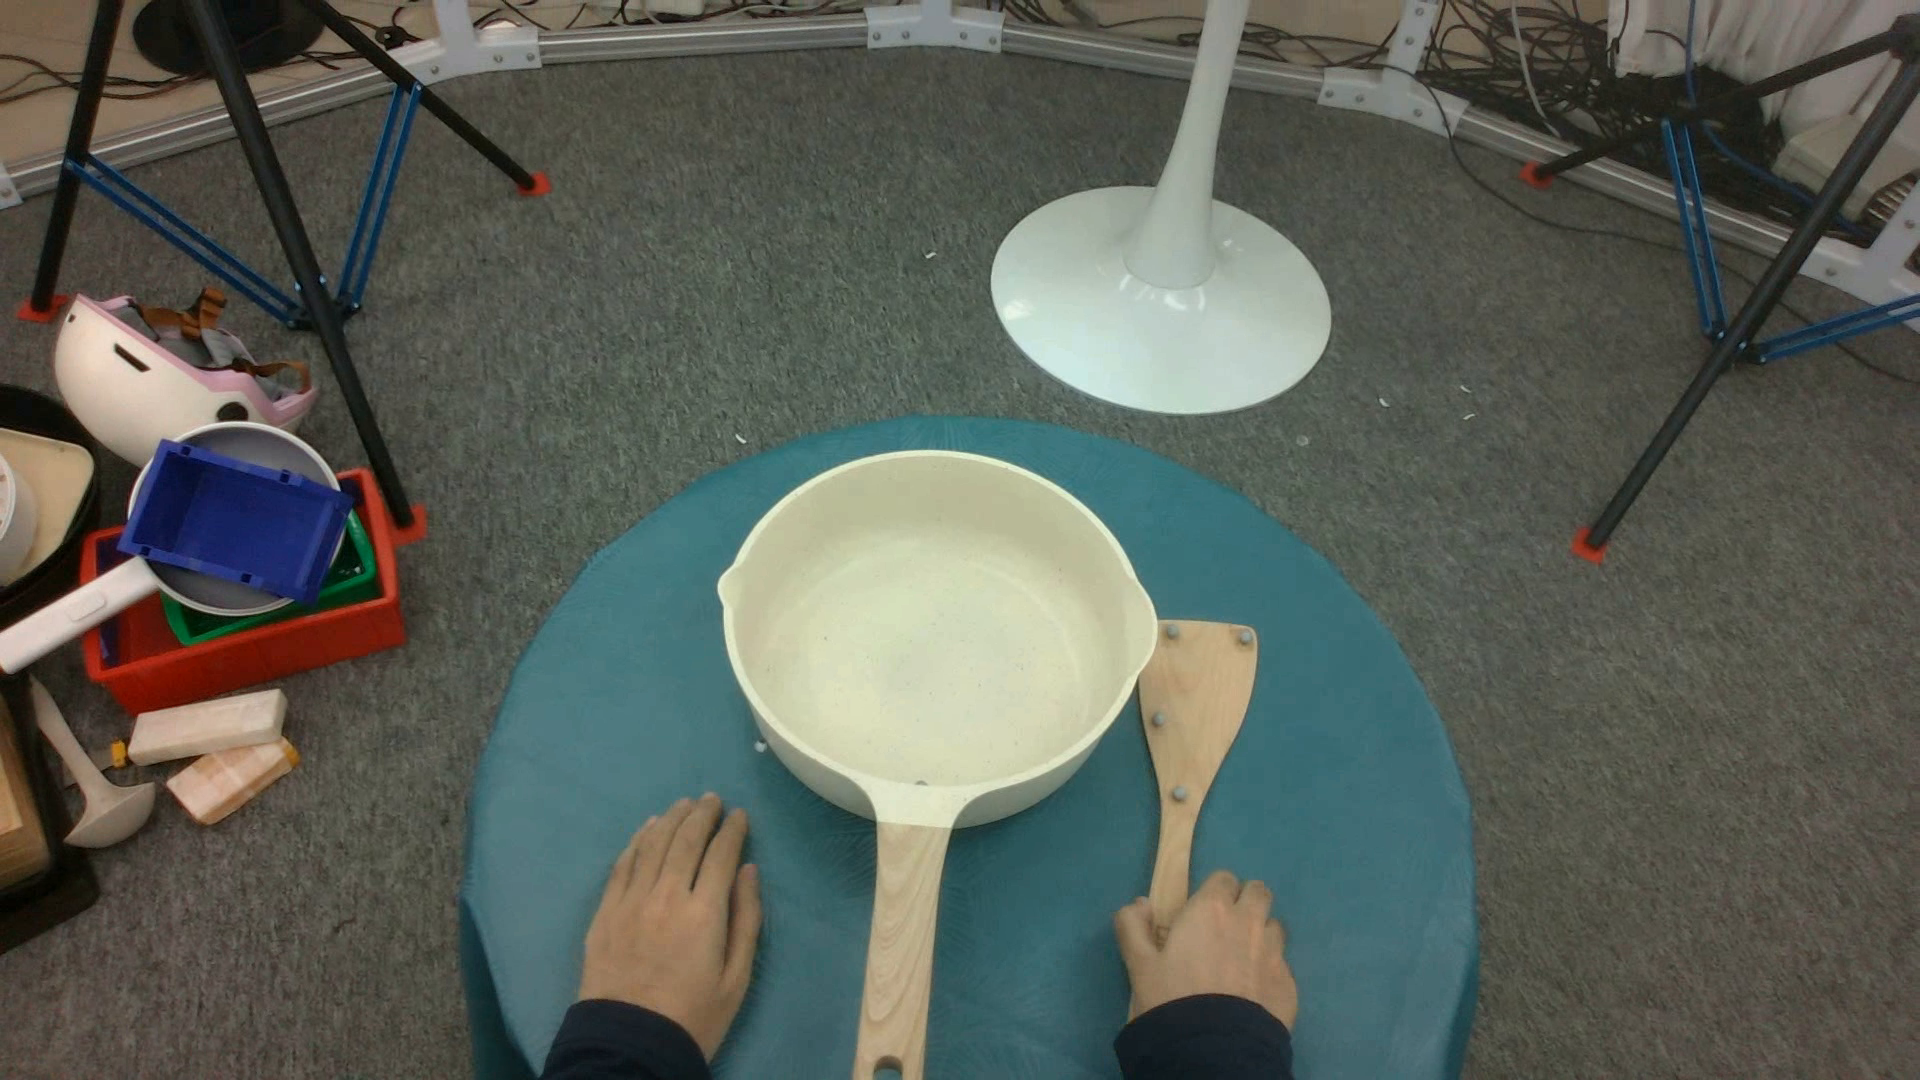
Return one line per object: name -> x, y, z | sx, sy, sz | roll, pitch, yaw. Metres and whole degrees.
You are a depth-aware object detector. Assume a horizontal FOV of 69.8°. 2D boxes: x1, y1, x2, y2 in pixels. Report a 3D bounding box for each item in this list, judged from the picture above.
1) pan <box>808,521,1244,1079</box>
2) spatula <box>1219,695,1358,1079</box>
pan -> 0.027, 0.172, 0.789 | 0.263, 0.101, 0.437 | 7, 49, 3
spatula -> 0.182, 0.212, 0.806 | 0.080, 0.016, 0.329 | 13, 43, 10
